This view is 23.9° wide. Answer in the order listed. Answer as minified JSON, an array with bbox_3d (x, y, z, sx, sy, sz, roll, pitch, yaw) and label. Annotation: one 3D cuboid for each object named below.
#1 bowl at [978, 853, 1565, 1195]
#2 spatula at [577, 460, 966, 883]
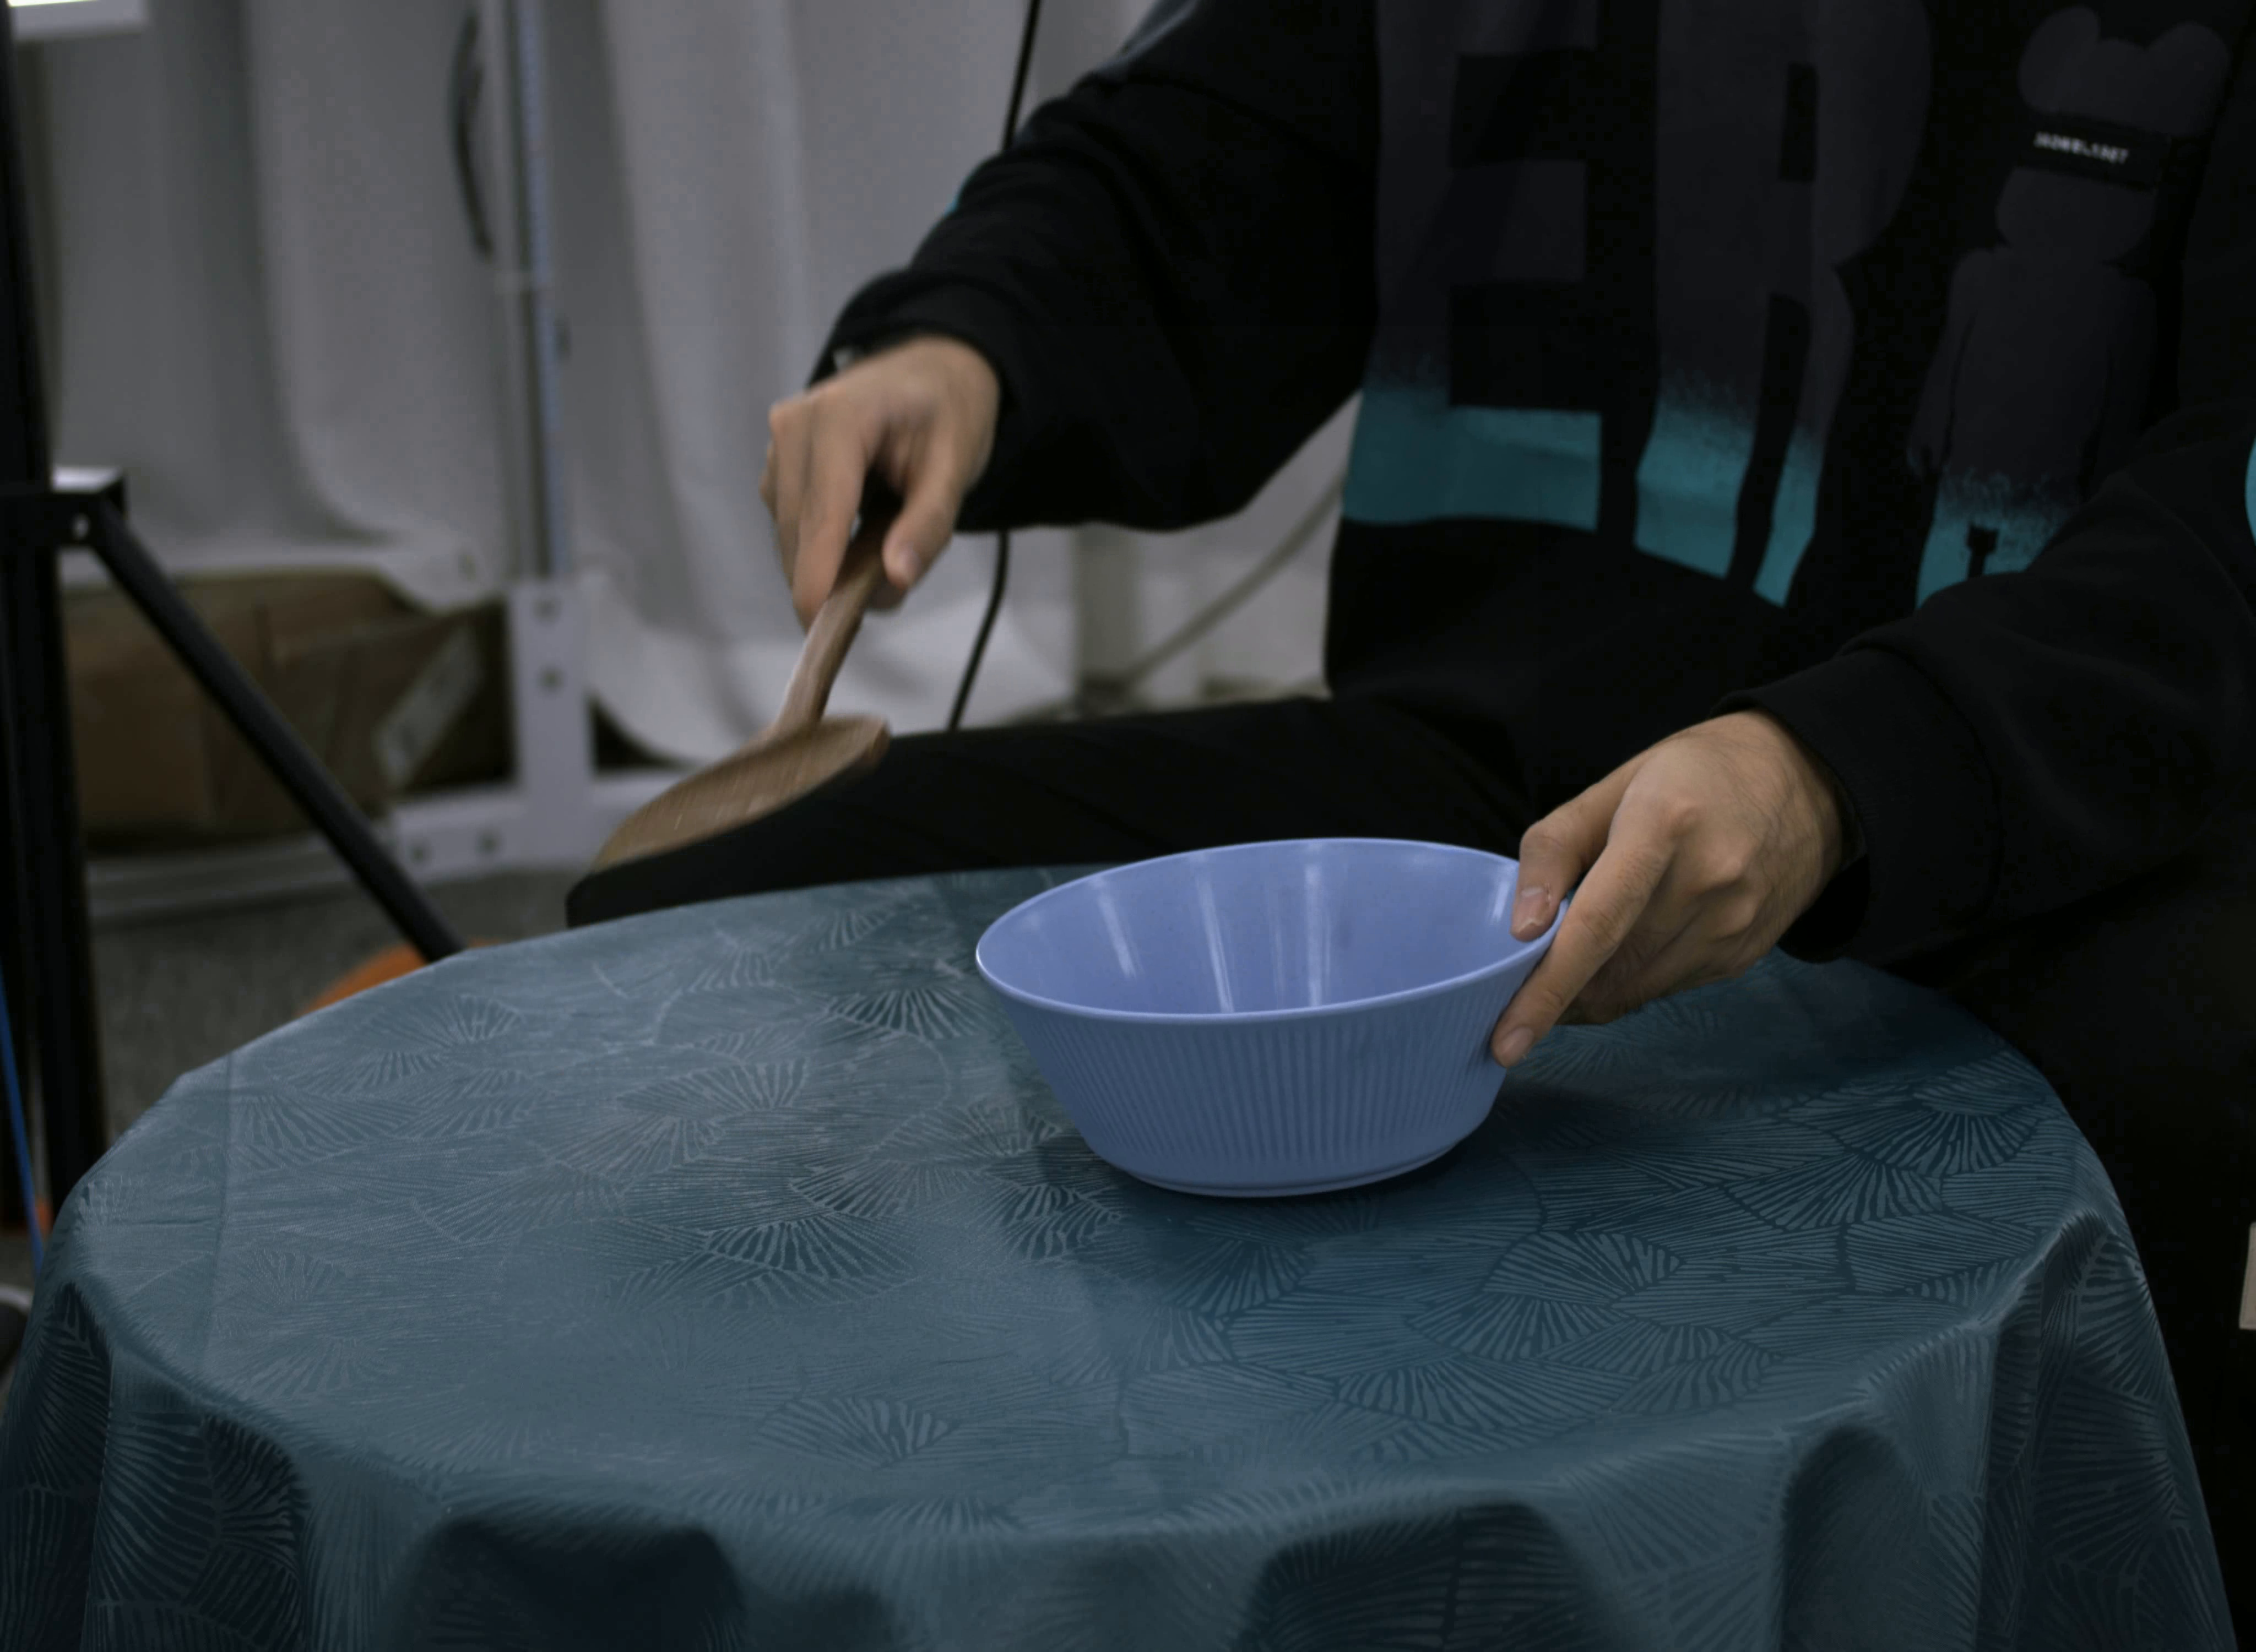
[{"bbox_3d":[0.045,0.061,1.580,0.175,0.070,0.177,-5,14,0],"label":"bowl"},{"bbox_3d":[-0.095,-0.059,1.714,0.097,0.015,0.385,-20,17,15],"label":"spatula"}]
